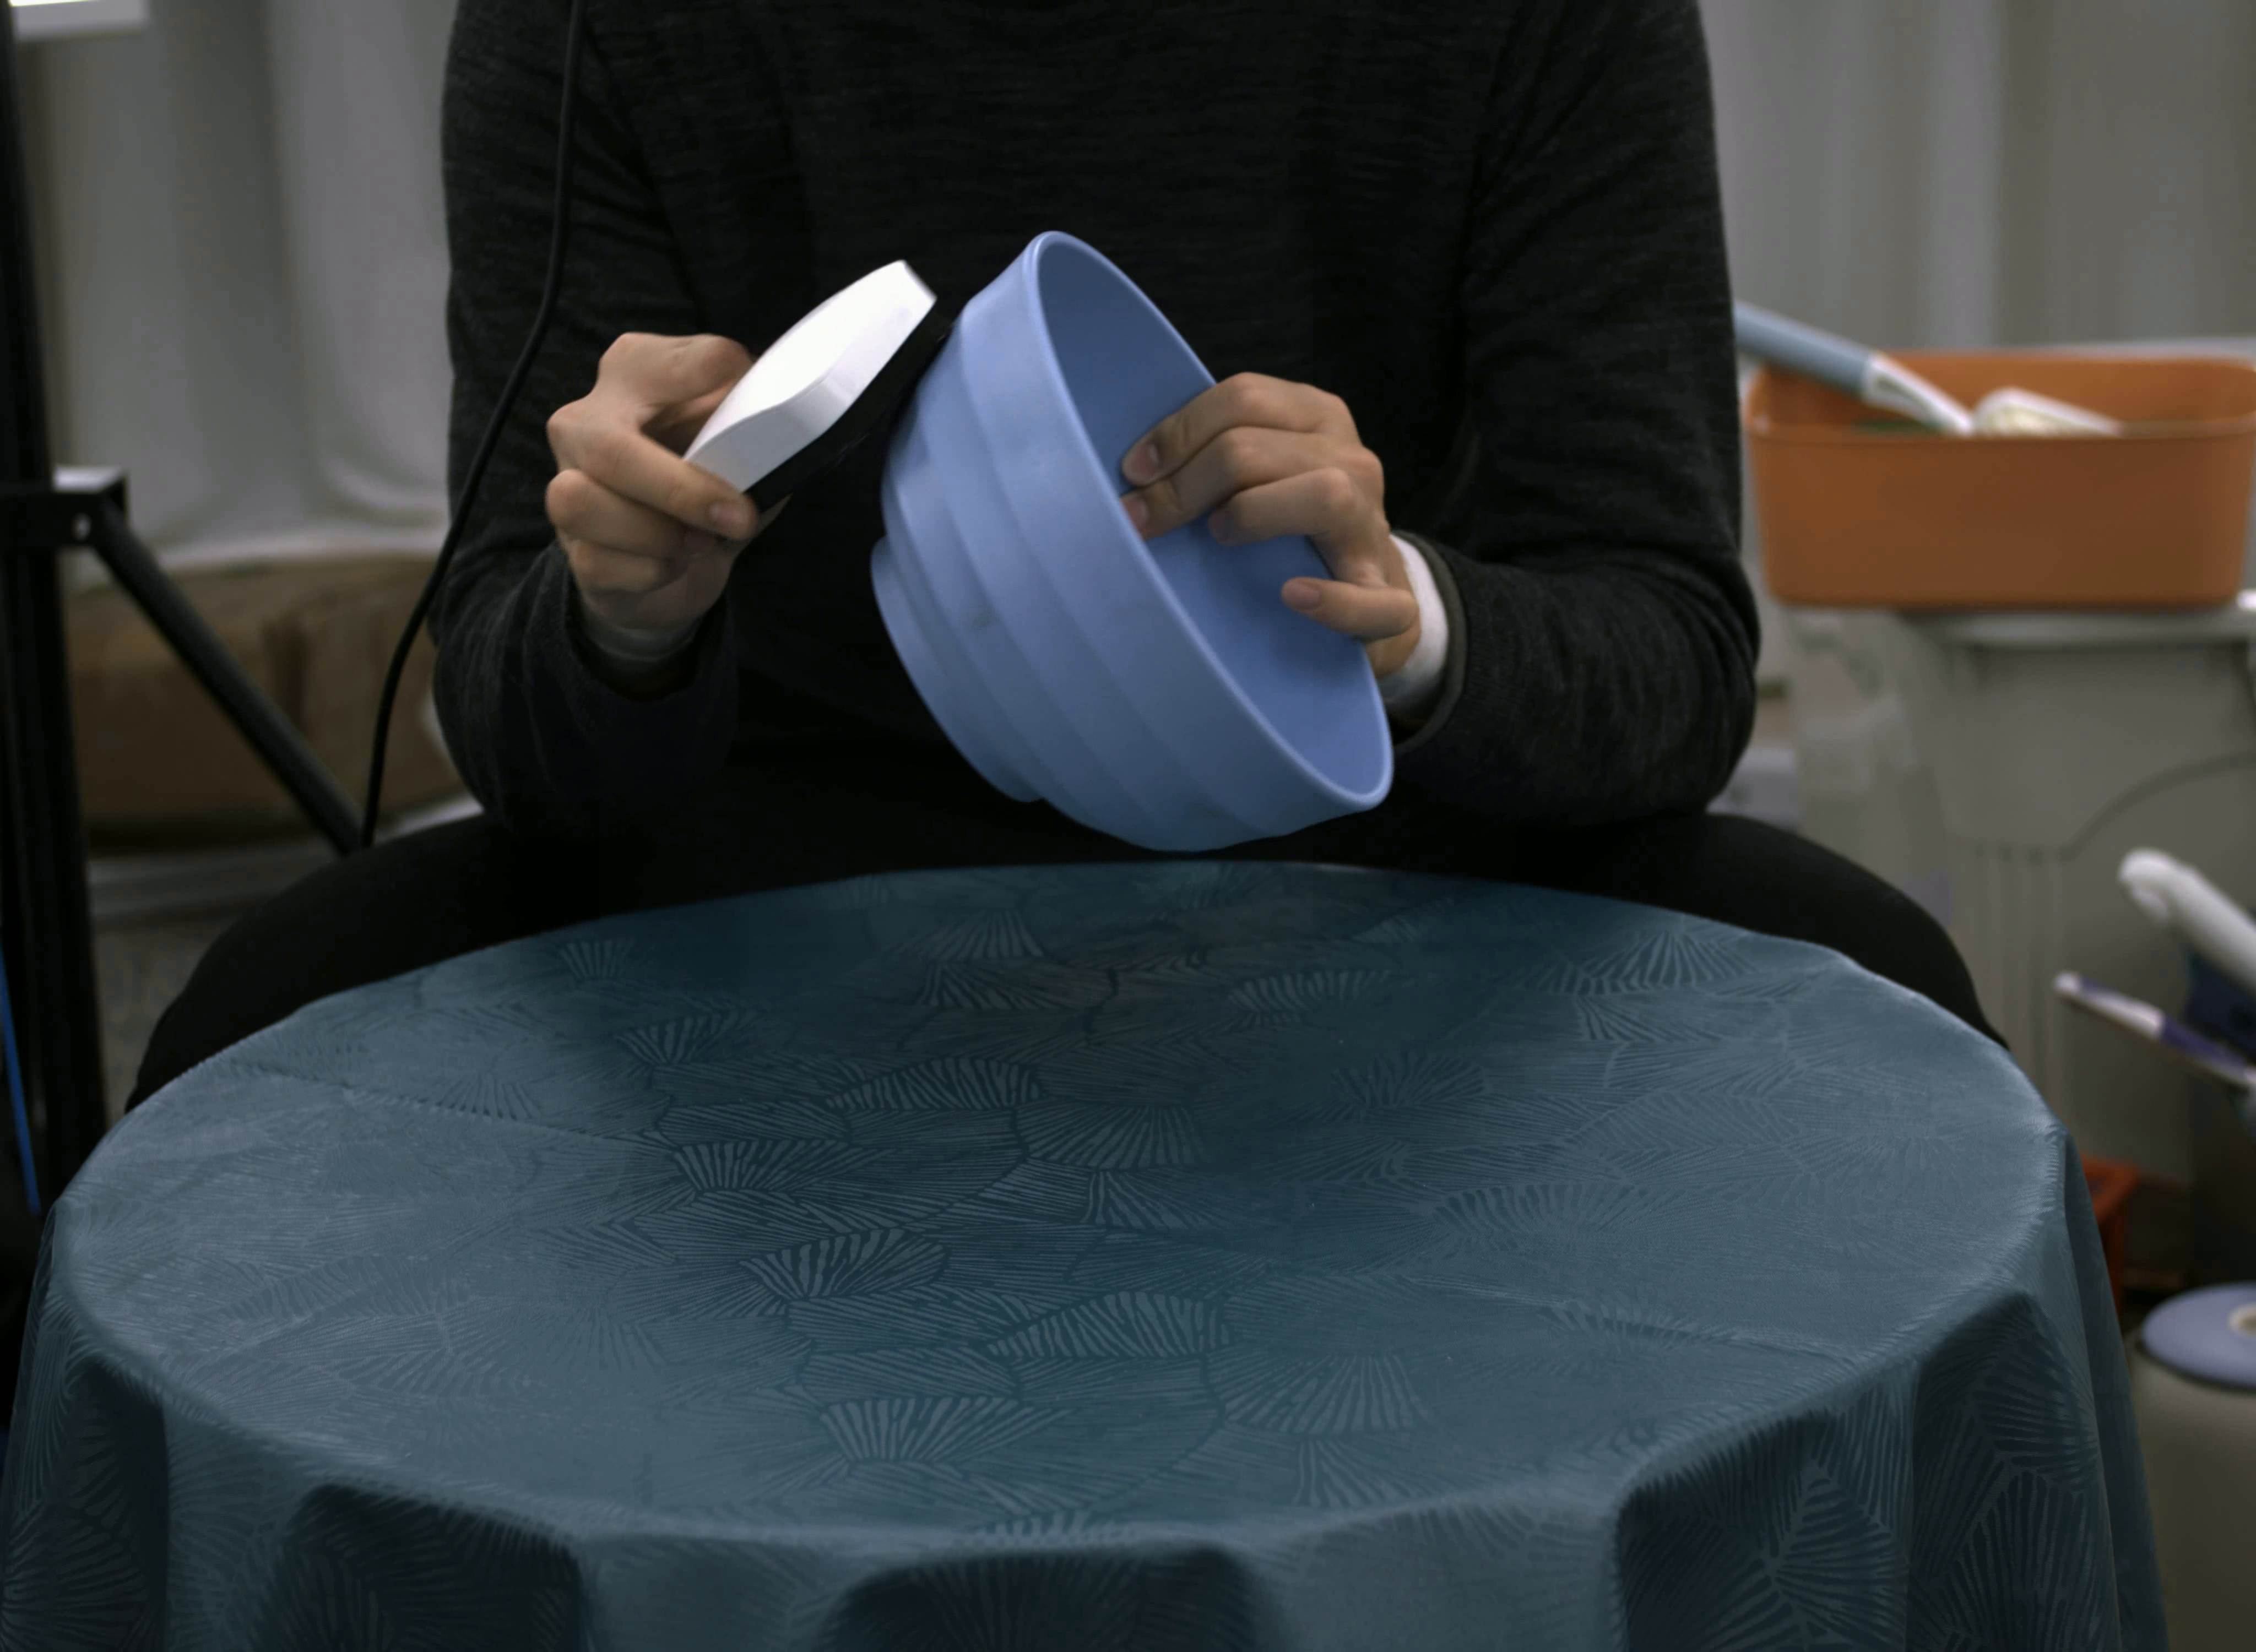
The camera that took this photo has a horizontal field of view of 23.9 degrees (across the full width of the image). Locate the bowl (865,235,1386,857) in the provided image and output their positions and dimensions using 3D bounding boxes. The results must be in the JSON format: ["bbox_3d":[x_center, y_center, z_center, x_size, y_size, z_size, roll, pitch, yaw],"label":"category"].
[{"bbox_3d":[-0.015,-0.068,1.588,0.096,0.196,0.196,-31,8,17],"label":"bowl"}]

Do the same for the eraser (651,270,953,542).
[{"bbox_3d":[-0.099,-0.127,1.598,0.063,0.034,0.133,-51,12,-24],"label":"eraser"}]
